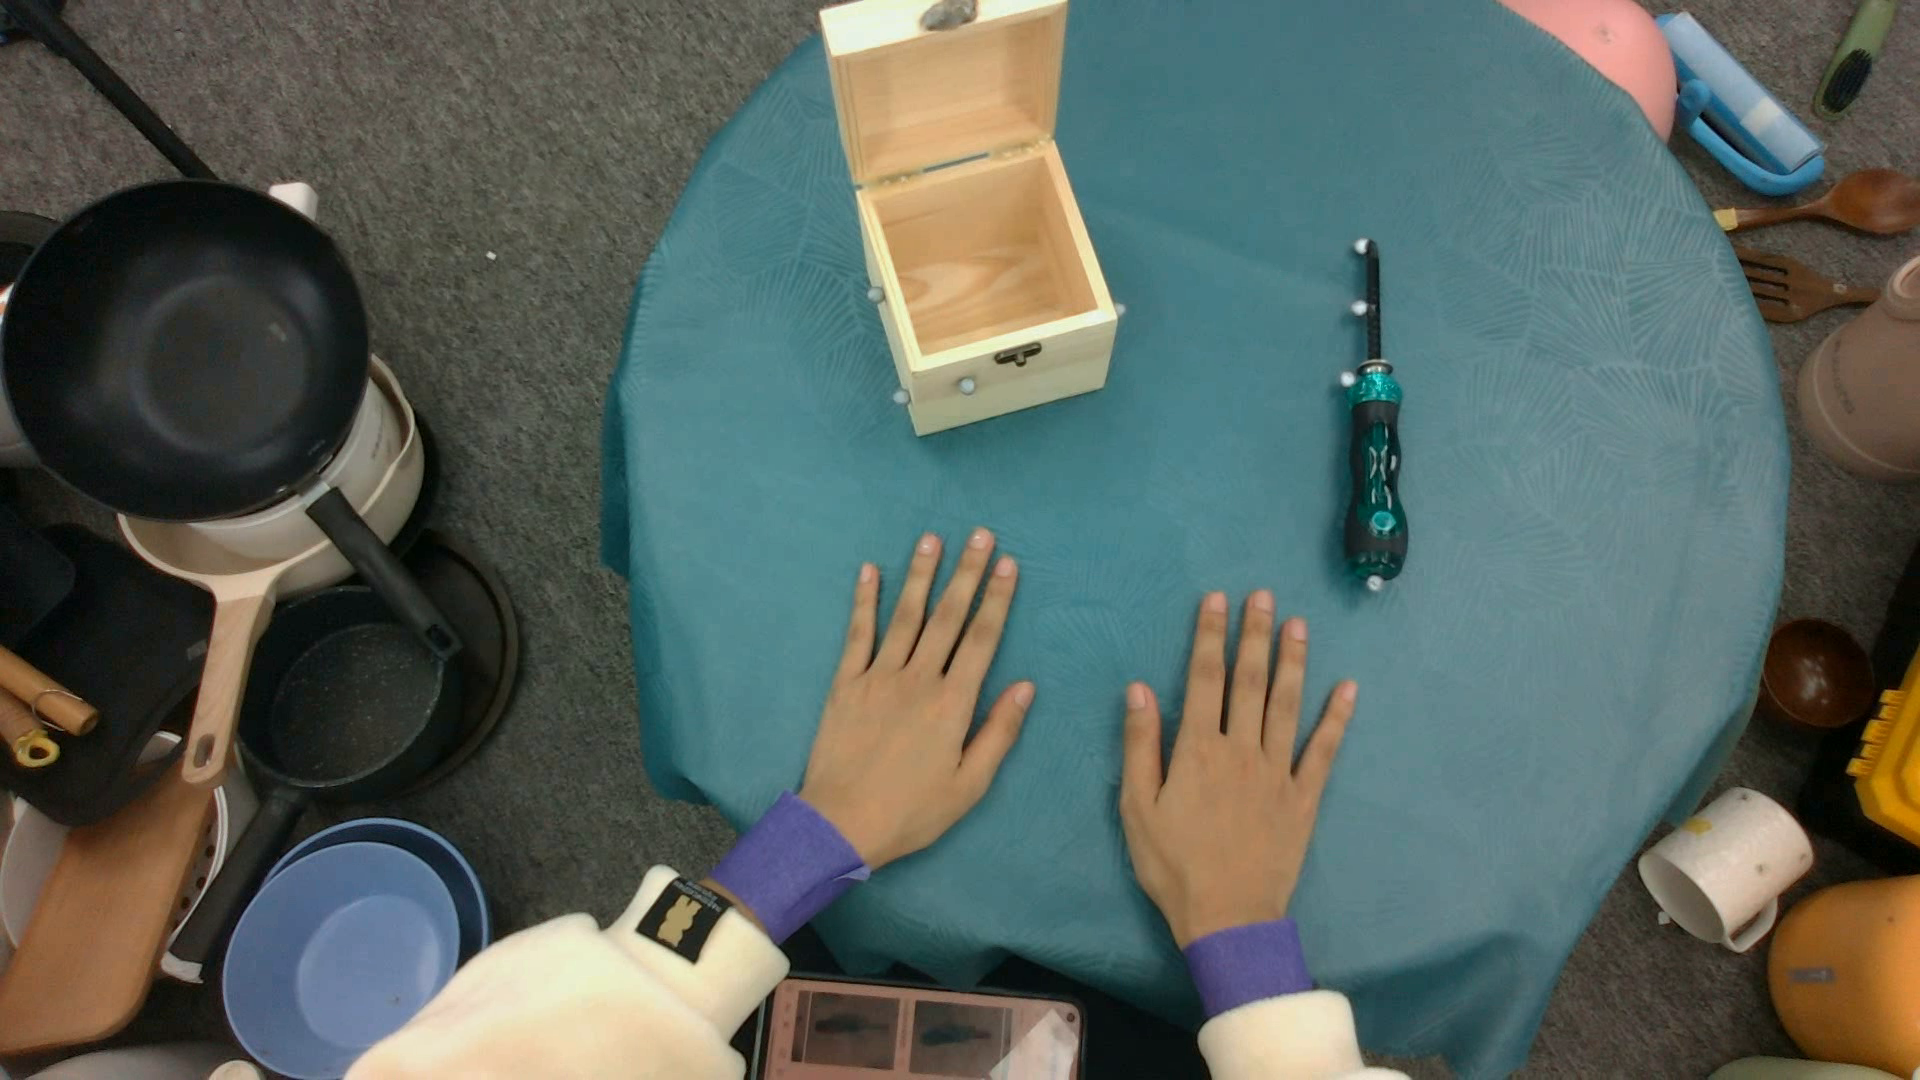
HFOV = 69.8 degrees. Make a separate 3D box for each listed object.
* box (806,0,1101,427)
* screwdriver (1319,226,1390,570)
[{"bbox_3d":[0.001,-0.153,0.641,0.102,0.184,0.134,-16,71,-5],"label":"box"},{"bbox_3d":[0.200,-0.077,0.700,0.034,0.033,0.190,5,70,2],"label":"screwdriver"}]
